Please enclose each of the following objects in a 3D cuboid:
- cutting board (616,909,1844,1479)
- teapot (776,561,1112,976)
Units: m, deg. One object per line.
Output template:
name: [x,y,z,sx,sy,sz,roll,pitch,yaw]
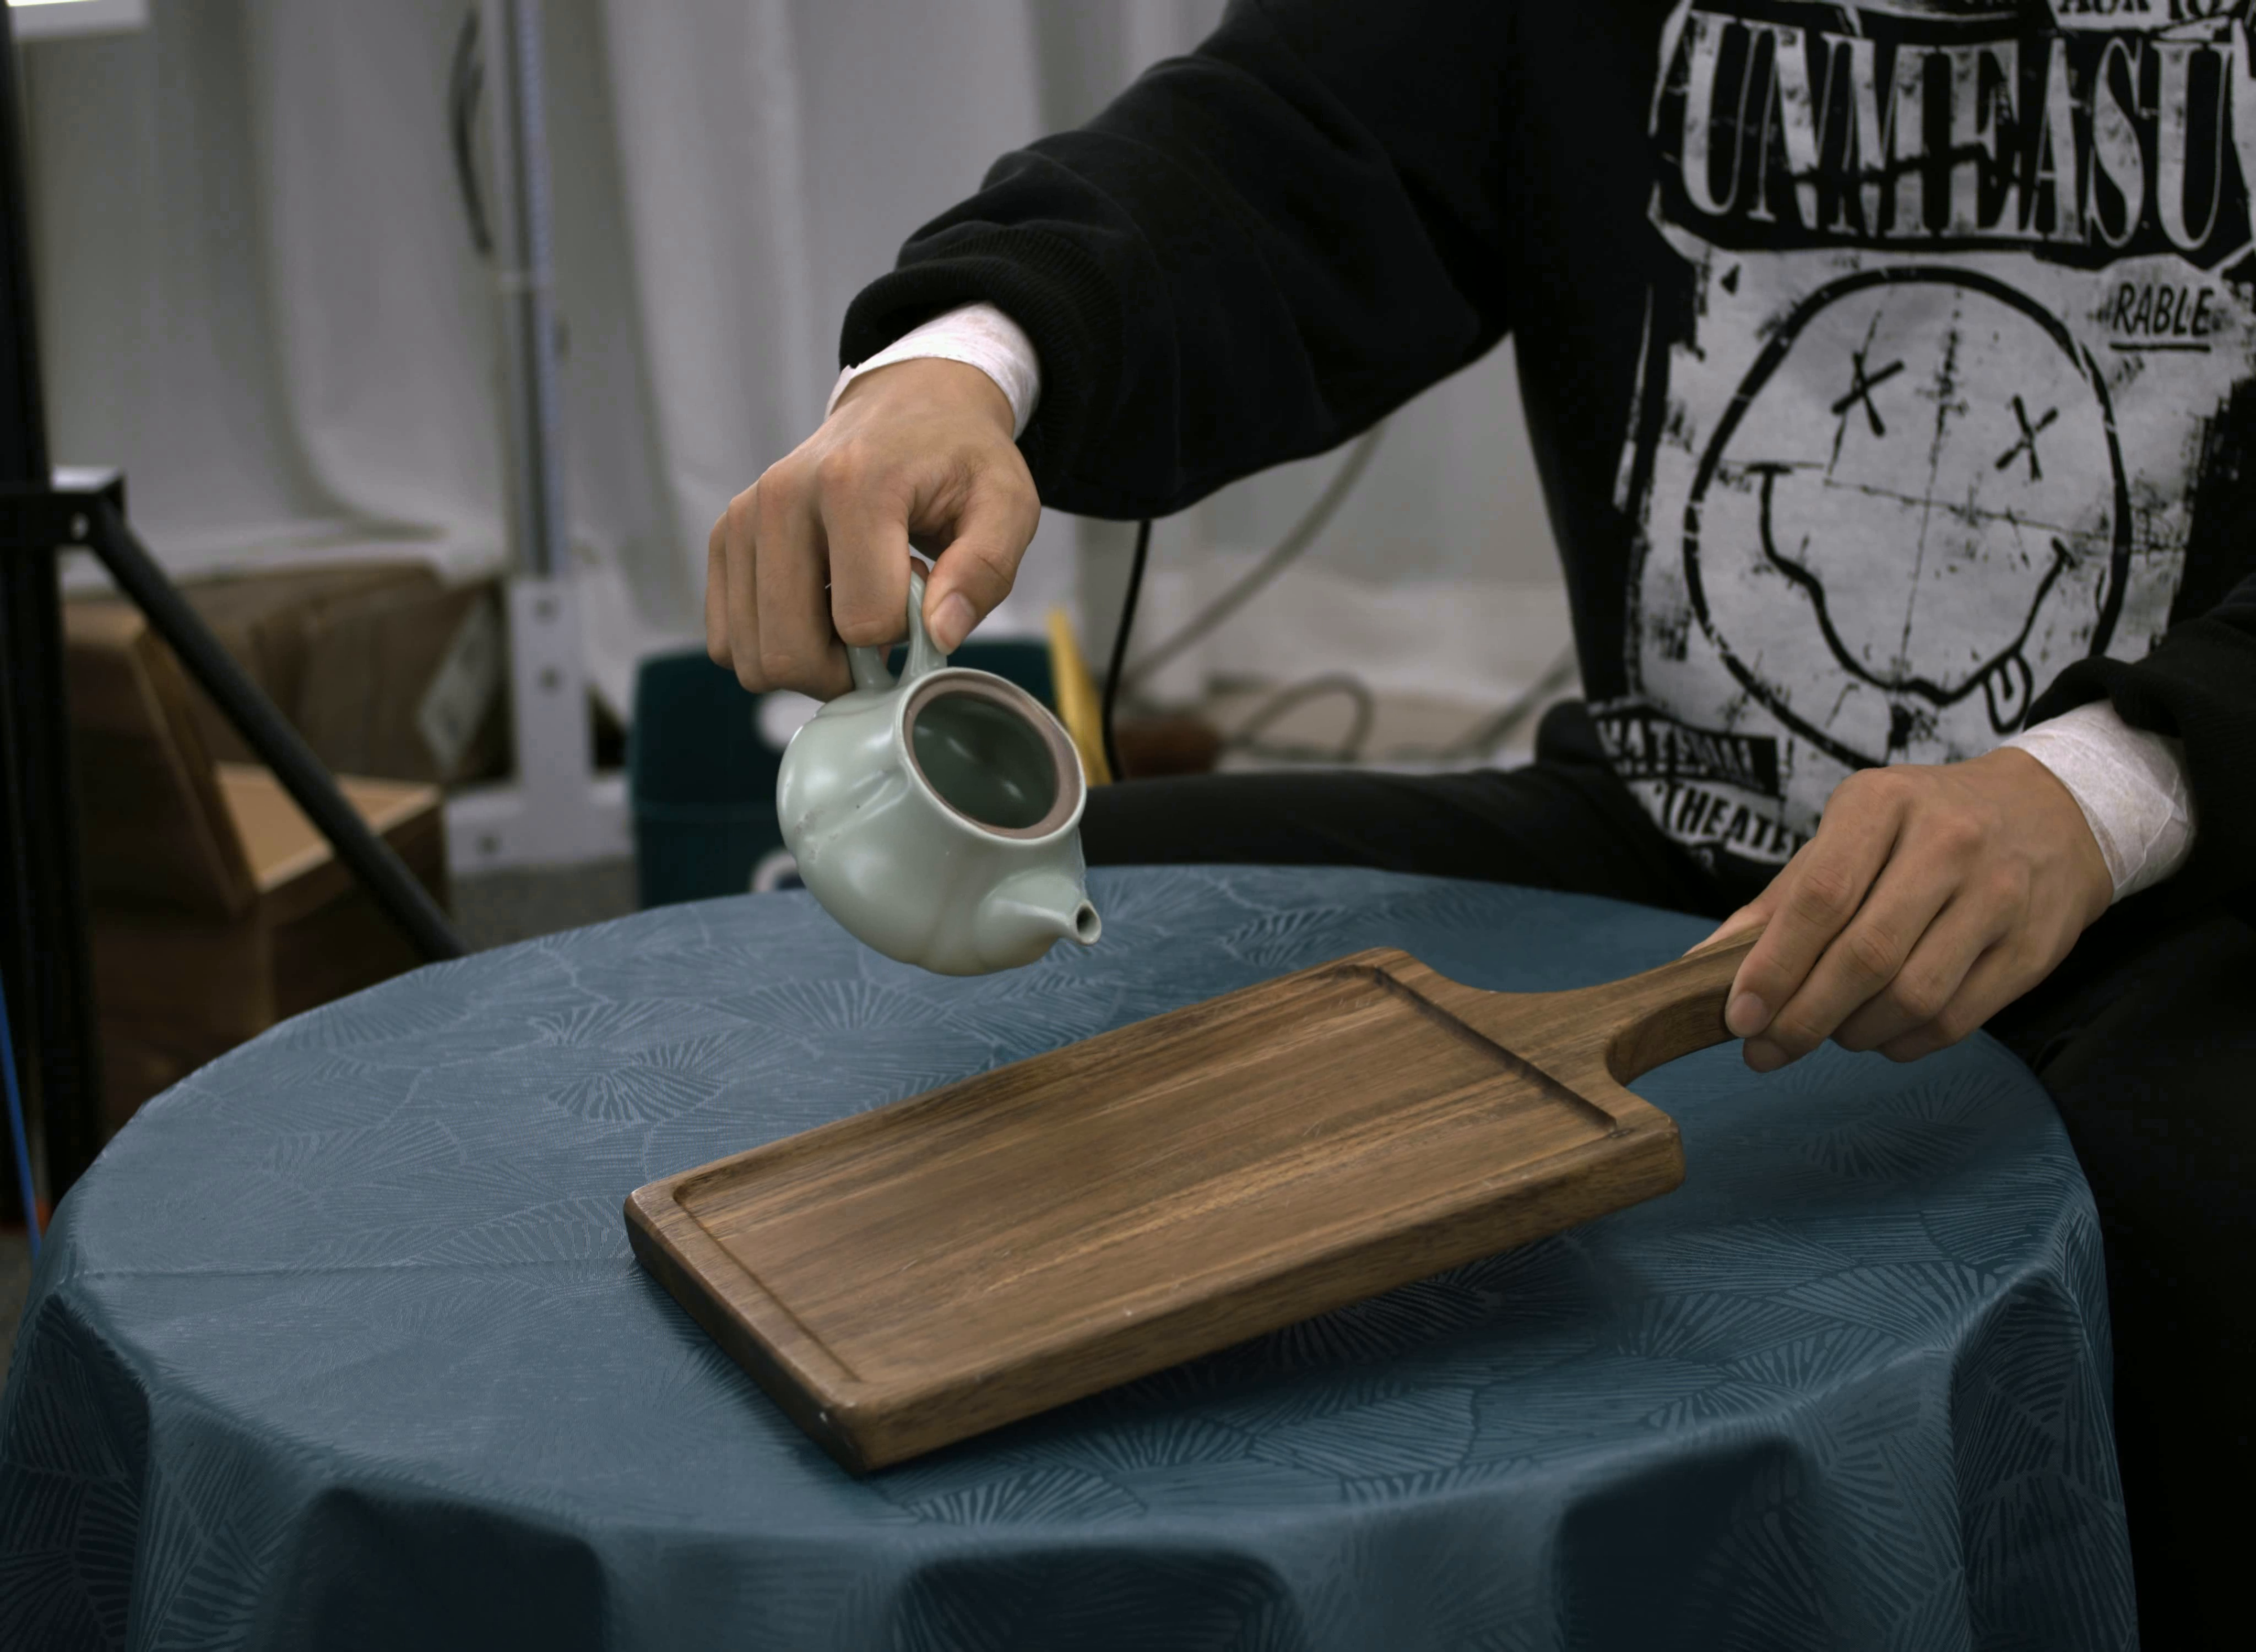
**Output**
cutting board: [0.048,0.087,1.485,0.347,0.023,0.205,-18,20,-17]
teapot: [-0.053,-0.010,1.532,0.094,0.139,0.062,-12,-26,-39]
